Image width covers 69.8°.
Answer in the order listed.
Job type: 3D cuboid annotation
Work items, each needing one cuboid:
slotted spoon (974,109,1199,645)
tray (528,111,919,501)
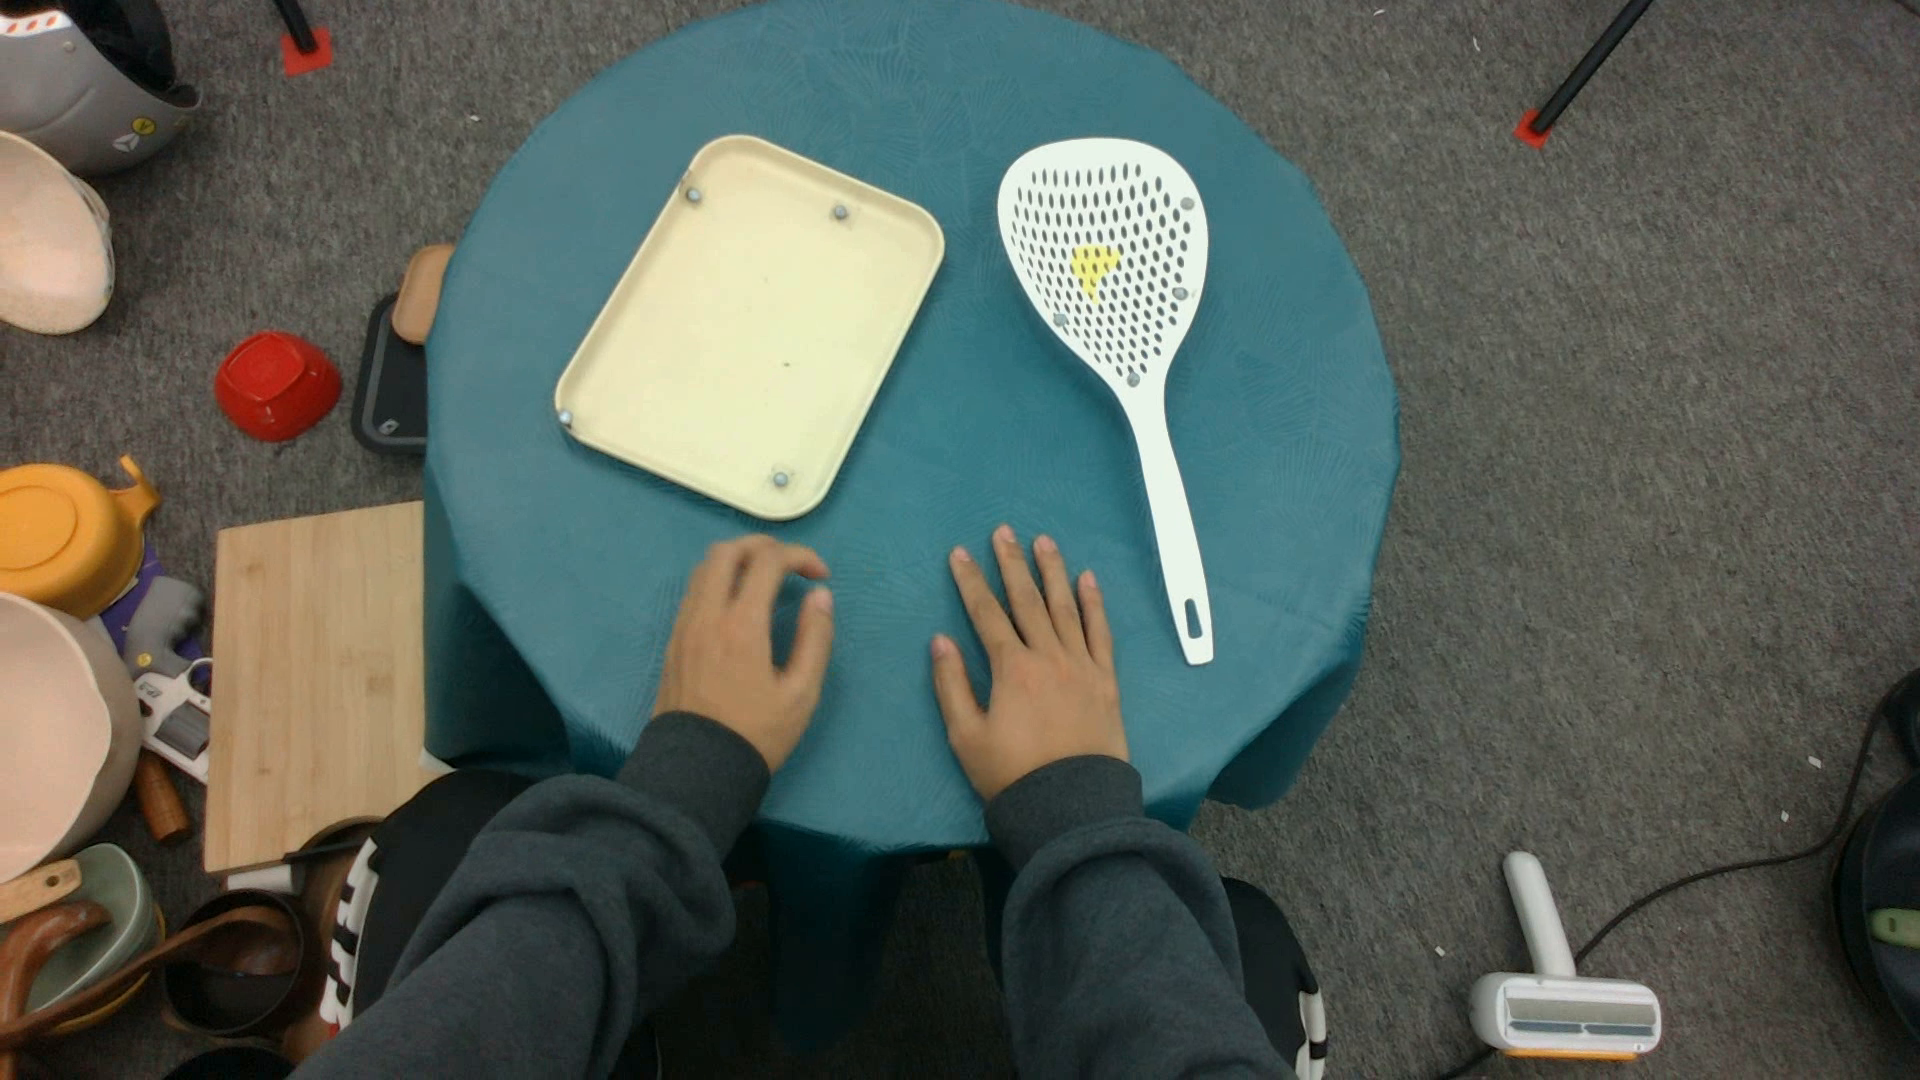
[{"bbox_3d":[0.095,-0.107,0.845,0.137,0.050,0.348,-7,71,-15],"label":"slotted spoon"},{"bbox_3d":[-0.138,-0.146,0.837,0.171,0.017,0.240,23,67,0],"label":"tray"}]
